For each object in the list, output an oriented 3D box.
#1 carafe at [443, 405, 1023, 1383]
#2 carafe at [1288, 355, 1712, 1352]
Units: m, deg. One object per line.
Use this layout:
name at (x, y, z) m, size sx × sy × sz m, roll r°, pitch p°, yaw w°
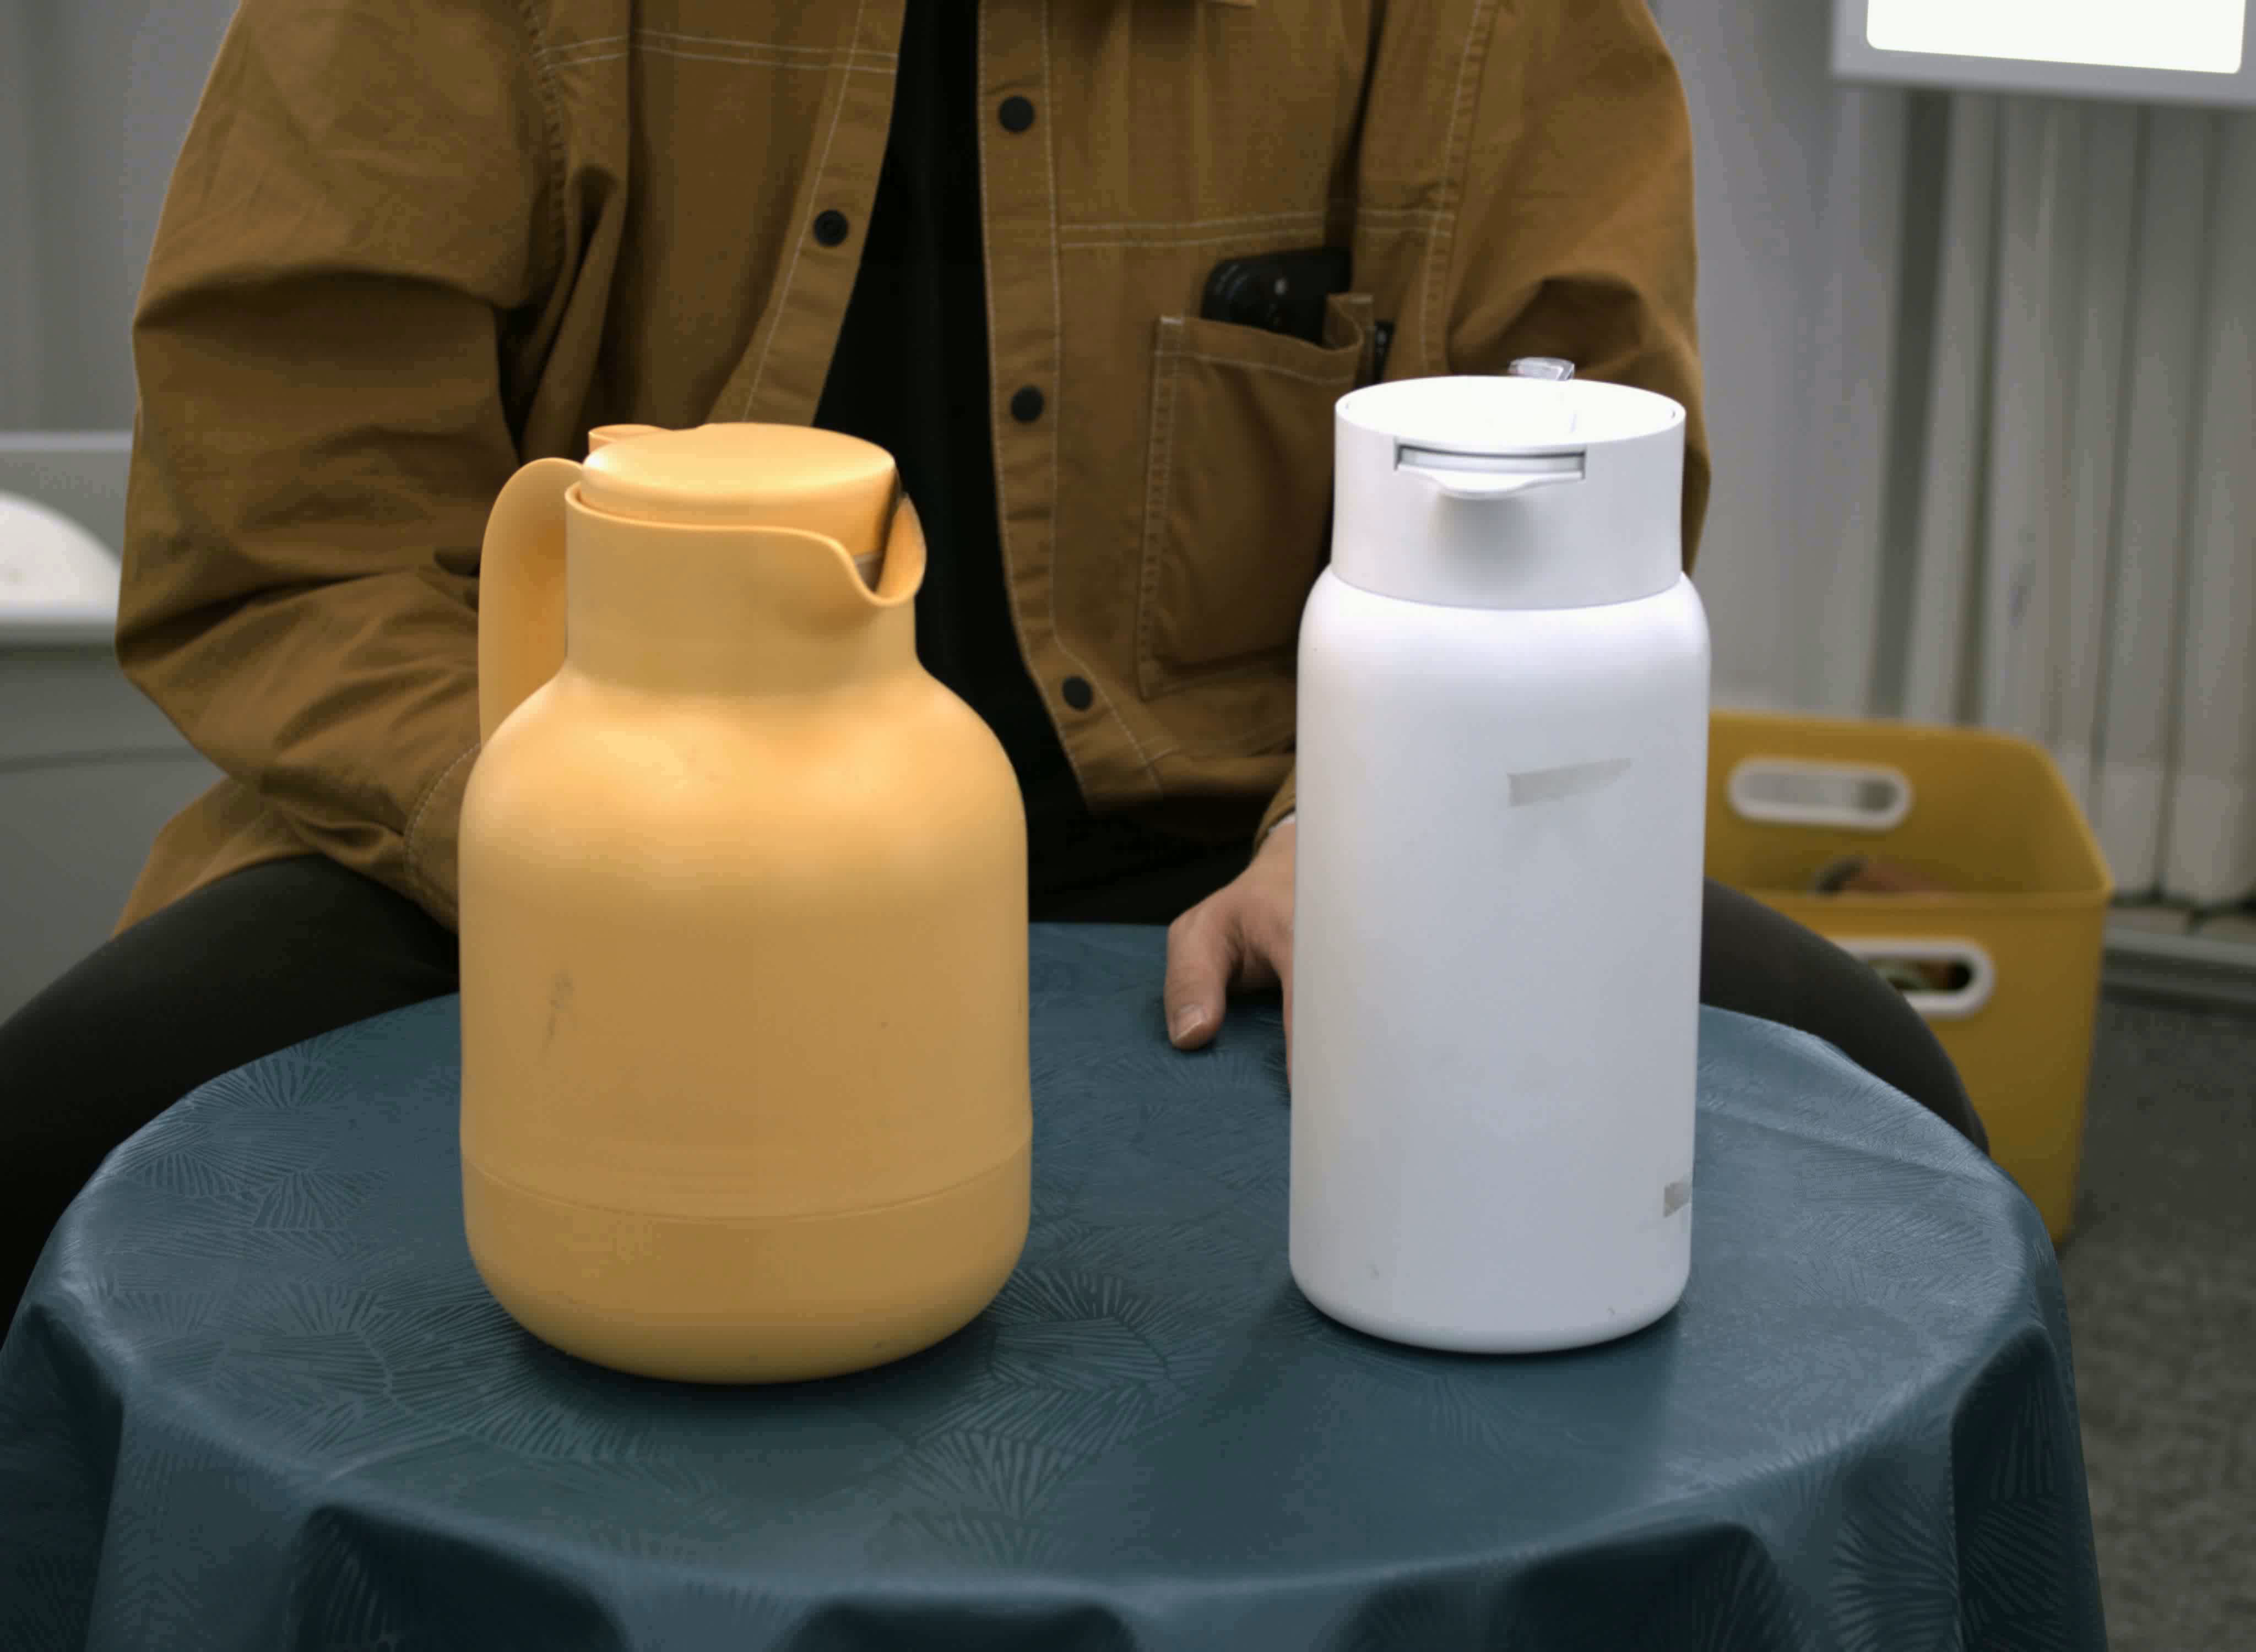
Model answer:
carafe at (-0.120, 0.011, 1.492) m, size 0.164 × 0.262 × 0.199 m, roll -8°, pitch 19°, yaw -35°
carafe at (0.108, 0.003, 1.517) m, size 0.123 × 0.271 × 0.172 m, roll 1°, pitch 16°, yaw 10°
